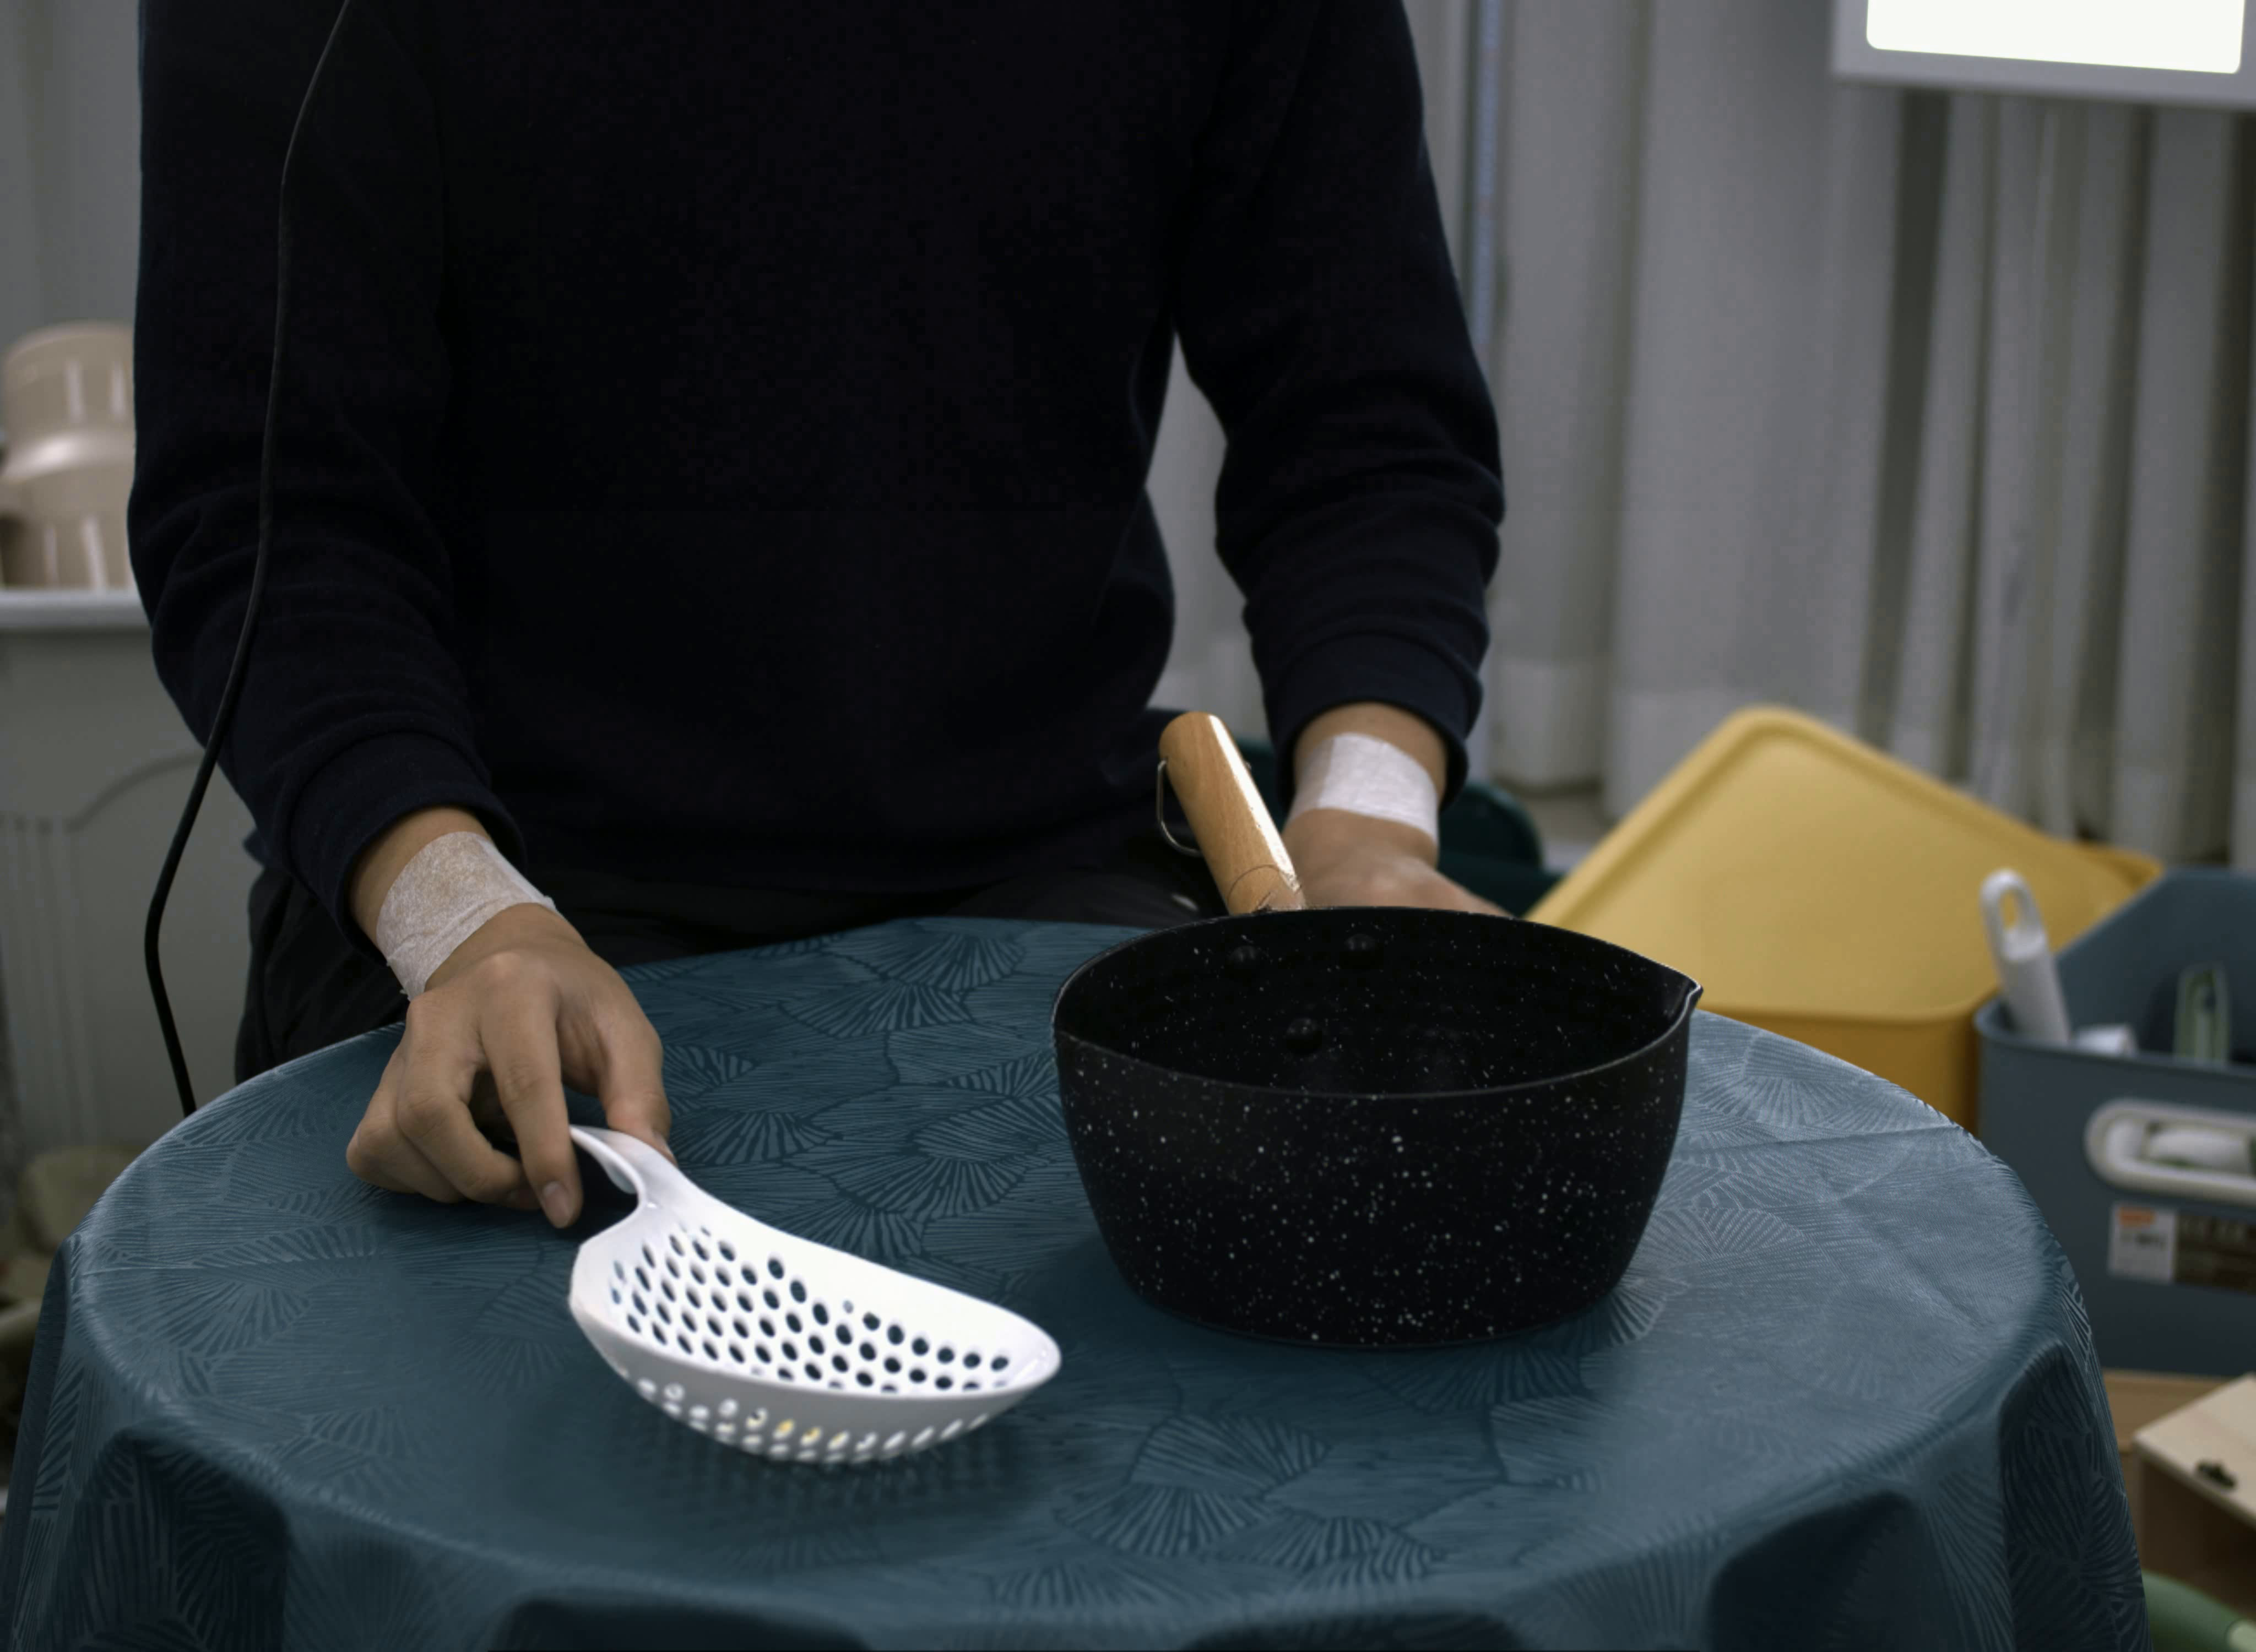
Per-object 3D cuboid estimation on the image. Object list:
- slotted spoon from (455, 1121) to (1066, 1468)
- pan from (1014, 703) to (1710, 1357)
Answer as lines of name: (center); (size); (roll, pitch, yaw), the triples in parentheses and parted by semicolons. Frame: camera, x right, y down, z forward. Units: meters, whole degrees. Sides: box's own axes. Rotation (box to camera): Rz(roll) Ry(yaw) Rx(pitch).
slotted spoon: (-0.130, 0.120, 1.508); (0.137, 0.050, 0.344); (4, 14, -25)
pan: (0.054, 0.057, 1.620); (0.207, 0.109, 0.339); (-4, 18, -12)
